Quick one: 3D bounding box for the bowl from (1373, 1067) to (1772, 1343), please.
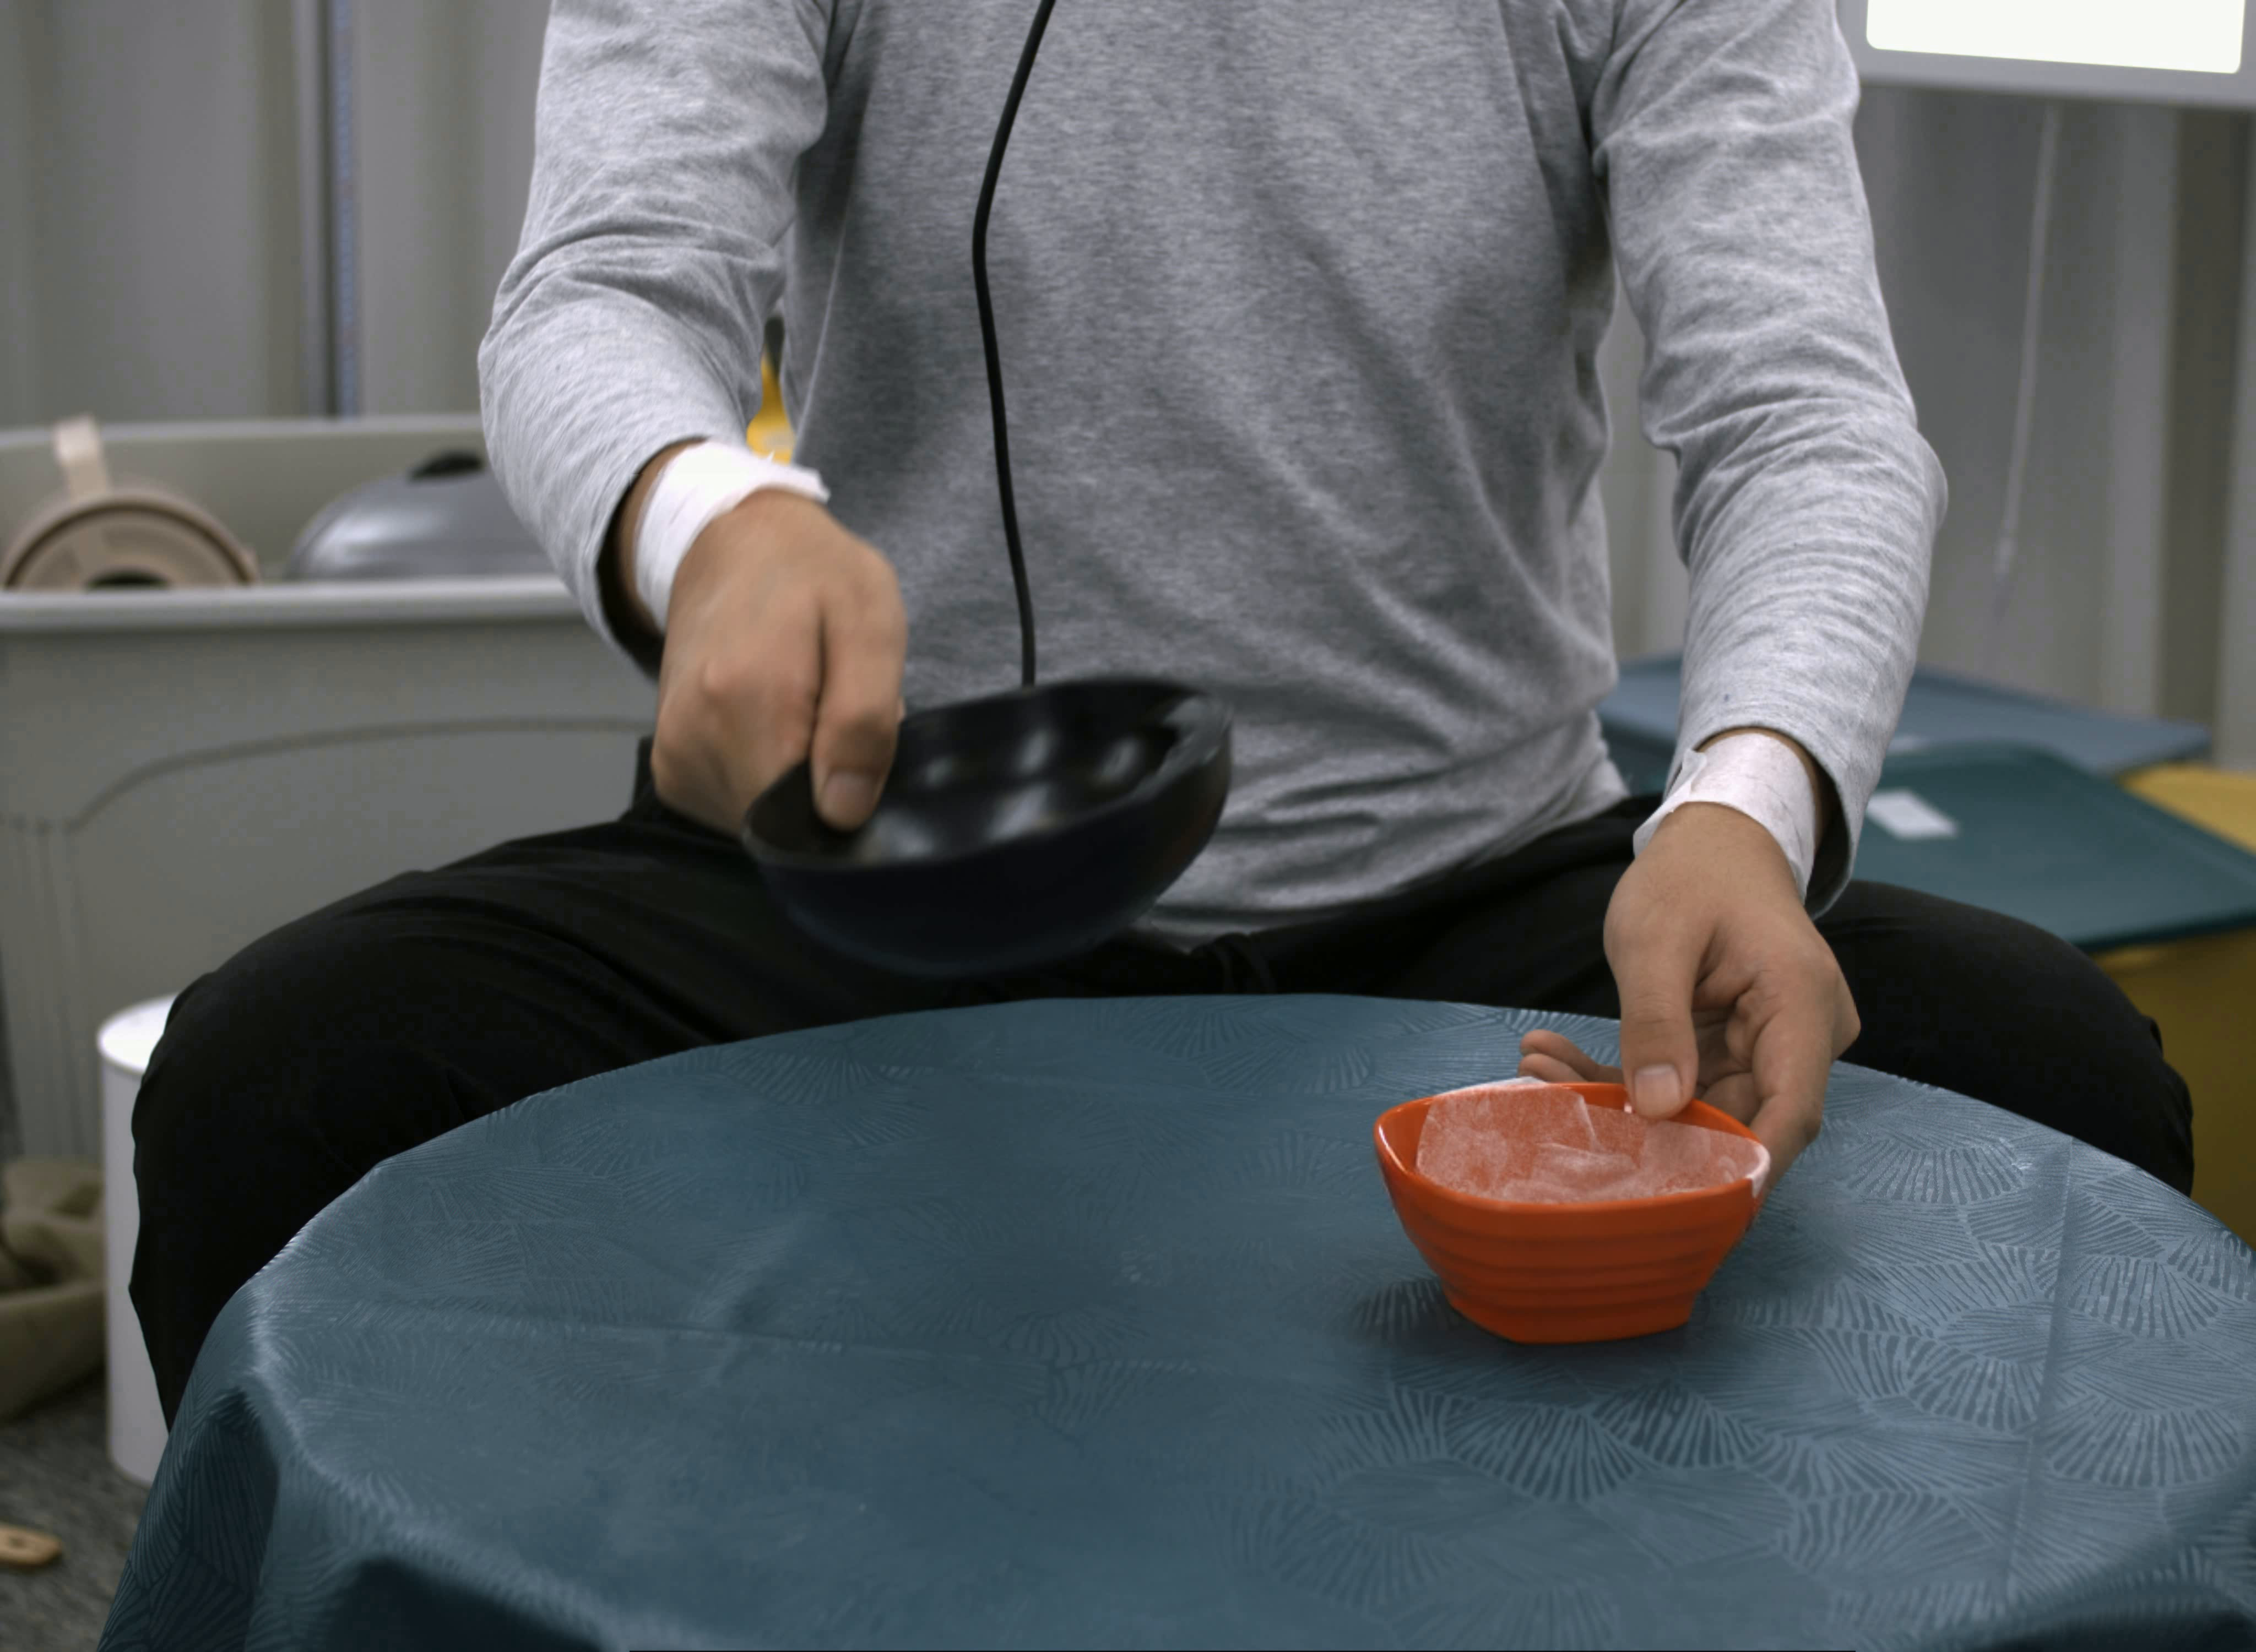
[{"bbox_3d":[0.128,0.112,1.527,0.118,0.052,0.118,0,18,0],"label":"bowl"}]

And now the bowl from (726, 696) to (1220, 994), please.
[{"bbox_3d":[-0.037,0.010,1.442,0.139,0.050,0.139,-13,15,4],"label":"bowl"}]
